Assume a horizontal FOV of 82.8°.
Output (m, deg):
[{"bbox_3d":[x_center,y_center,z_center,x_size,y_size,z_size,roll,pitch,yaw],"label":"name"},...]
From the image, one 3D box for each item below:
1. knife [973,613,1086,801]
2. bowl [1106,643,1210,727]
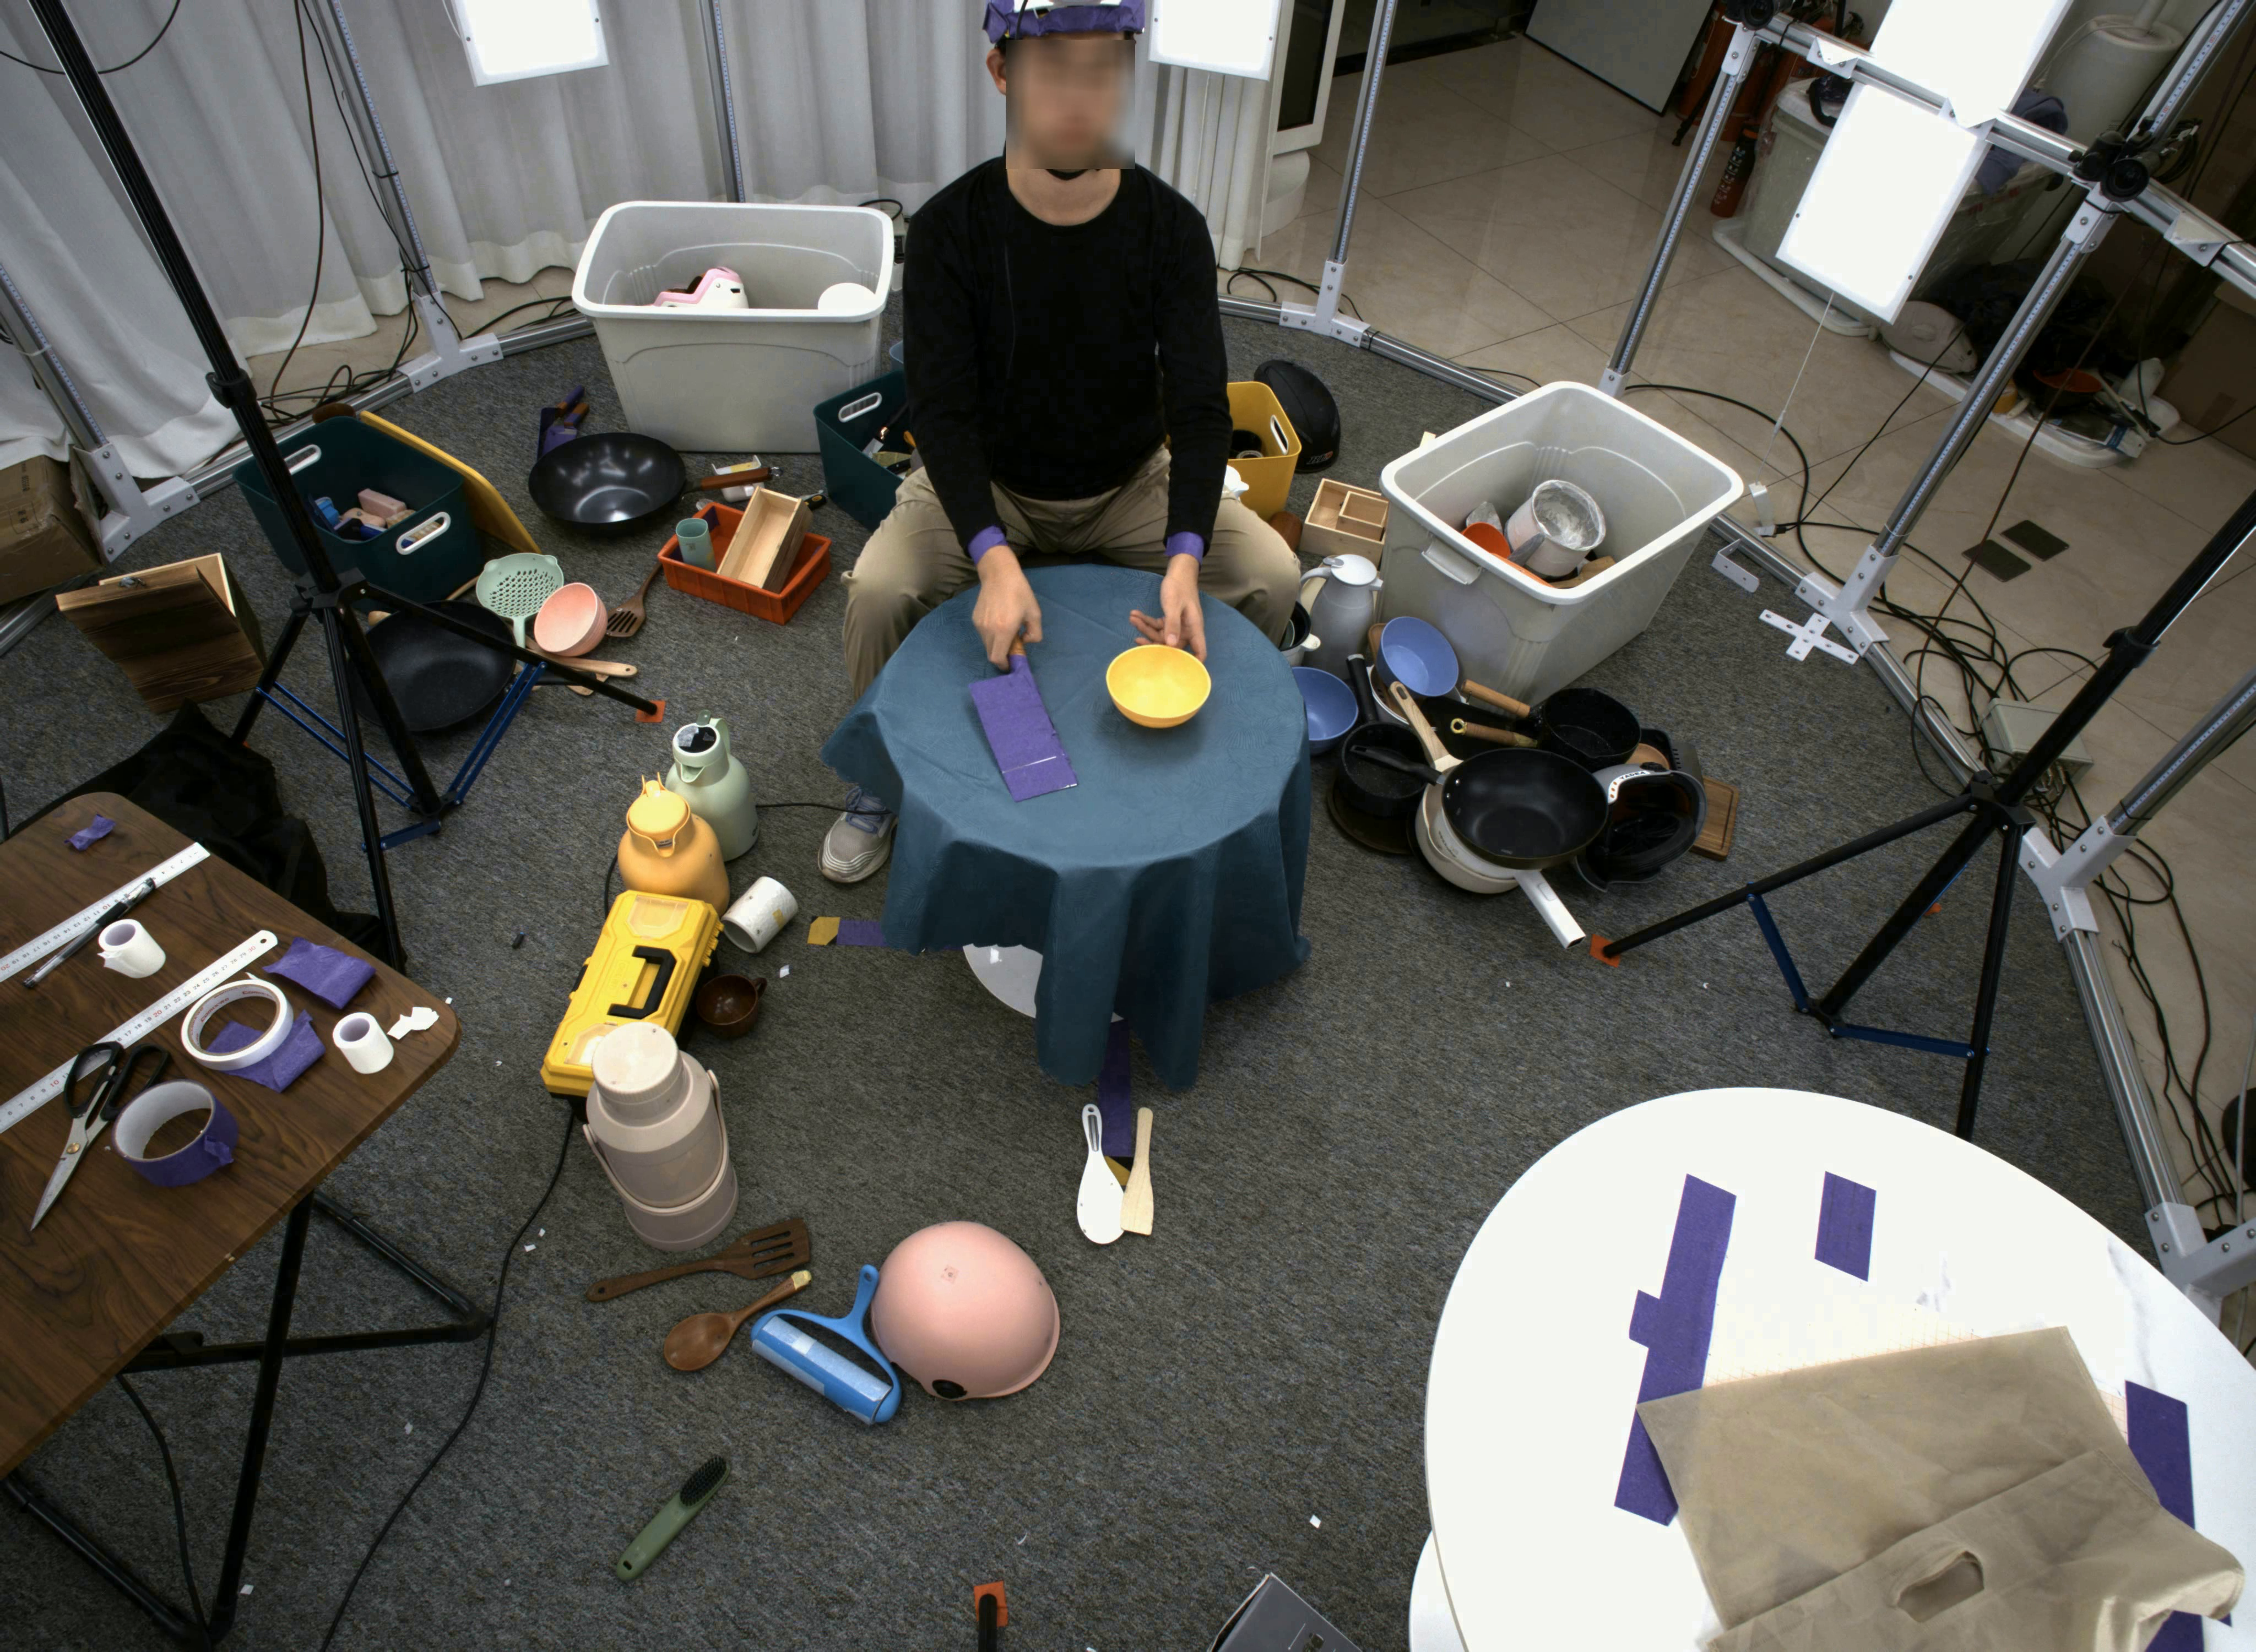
[{"bbox_3d":[-0.157,-0.170,1.775,0.104,0.031,0.322,-14,56,-15],"label":"knife"},{"bbox_3d":[0.039,-0.185,1.792,0.145,0.058,0.149,3,50,-4],"label":"bowl"}]
